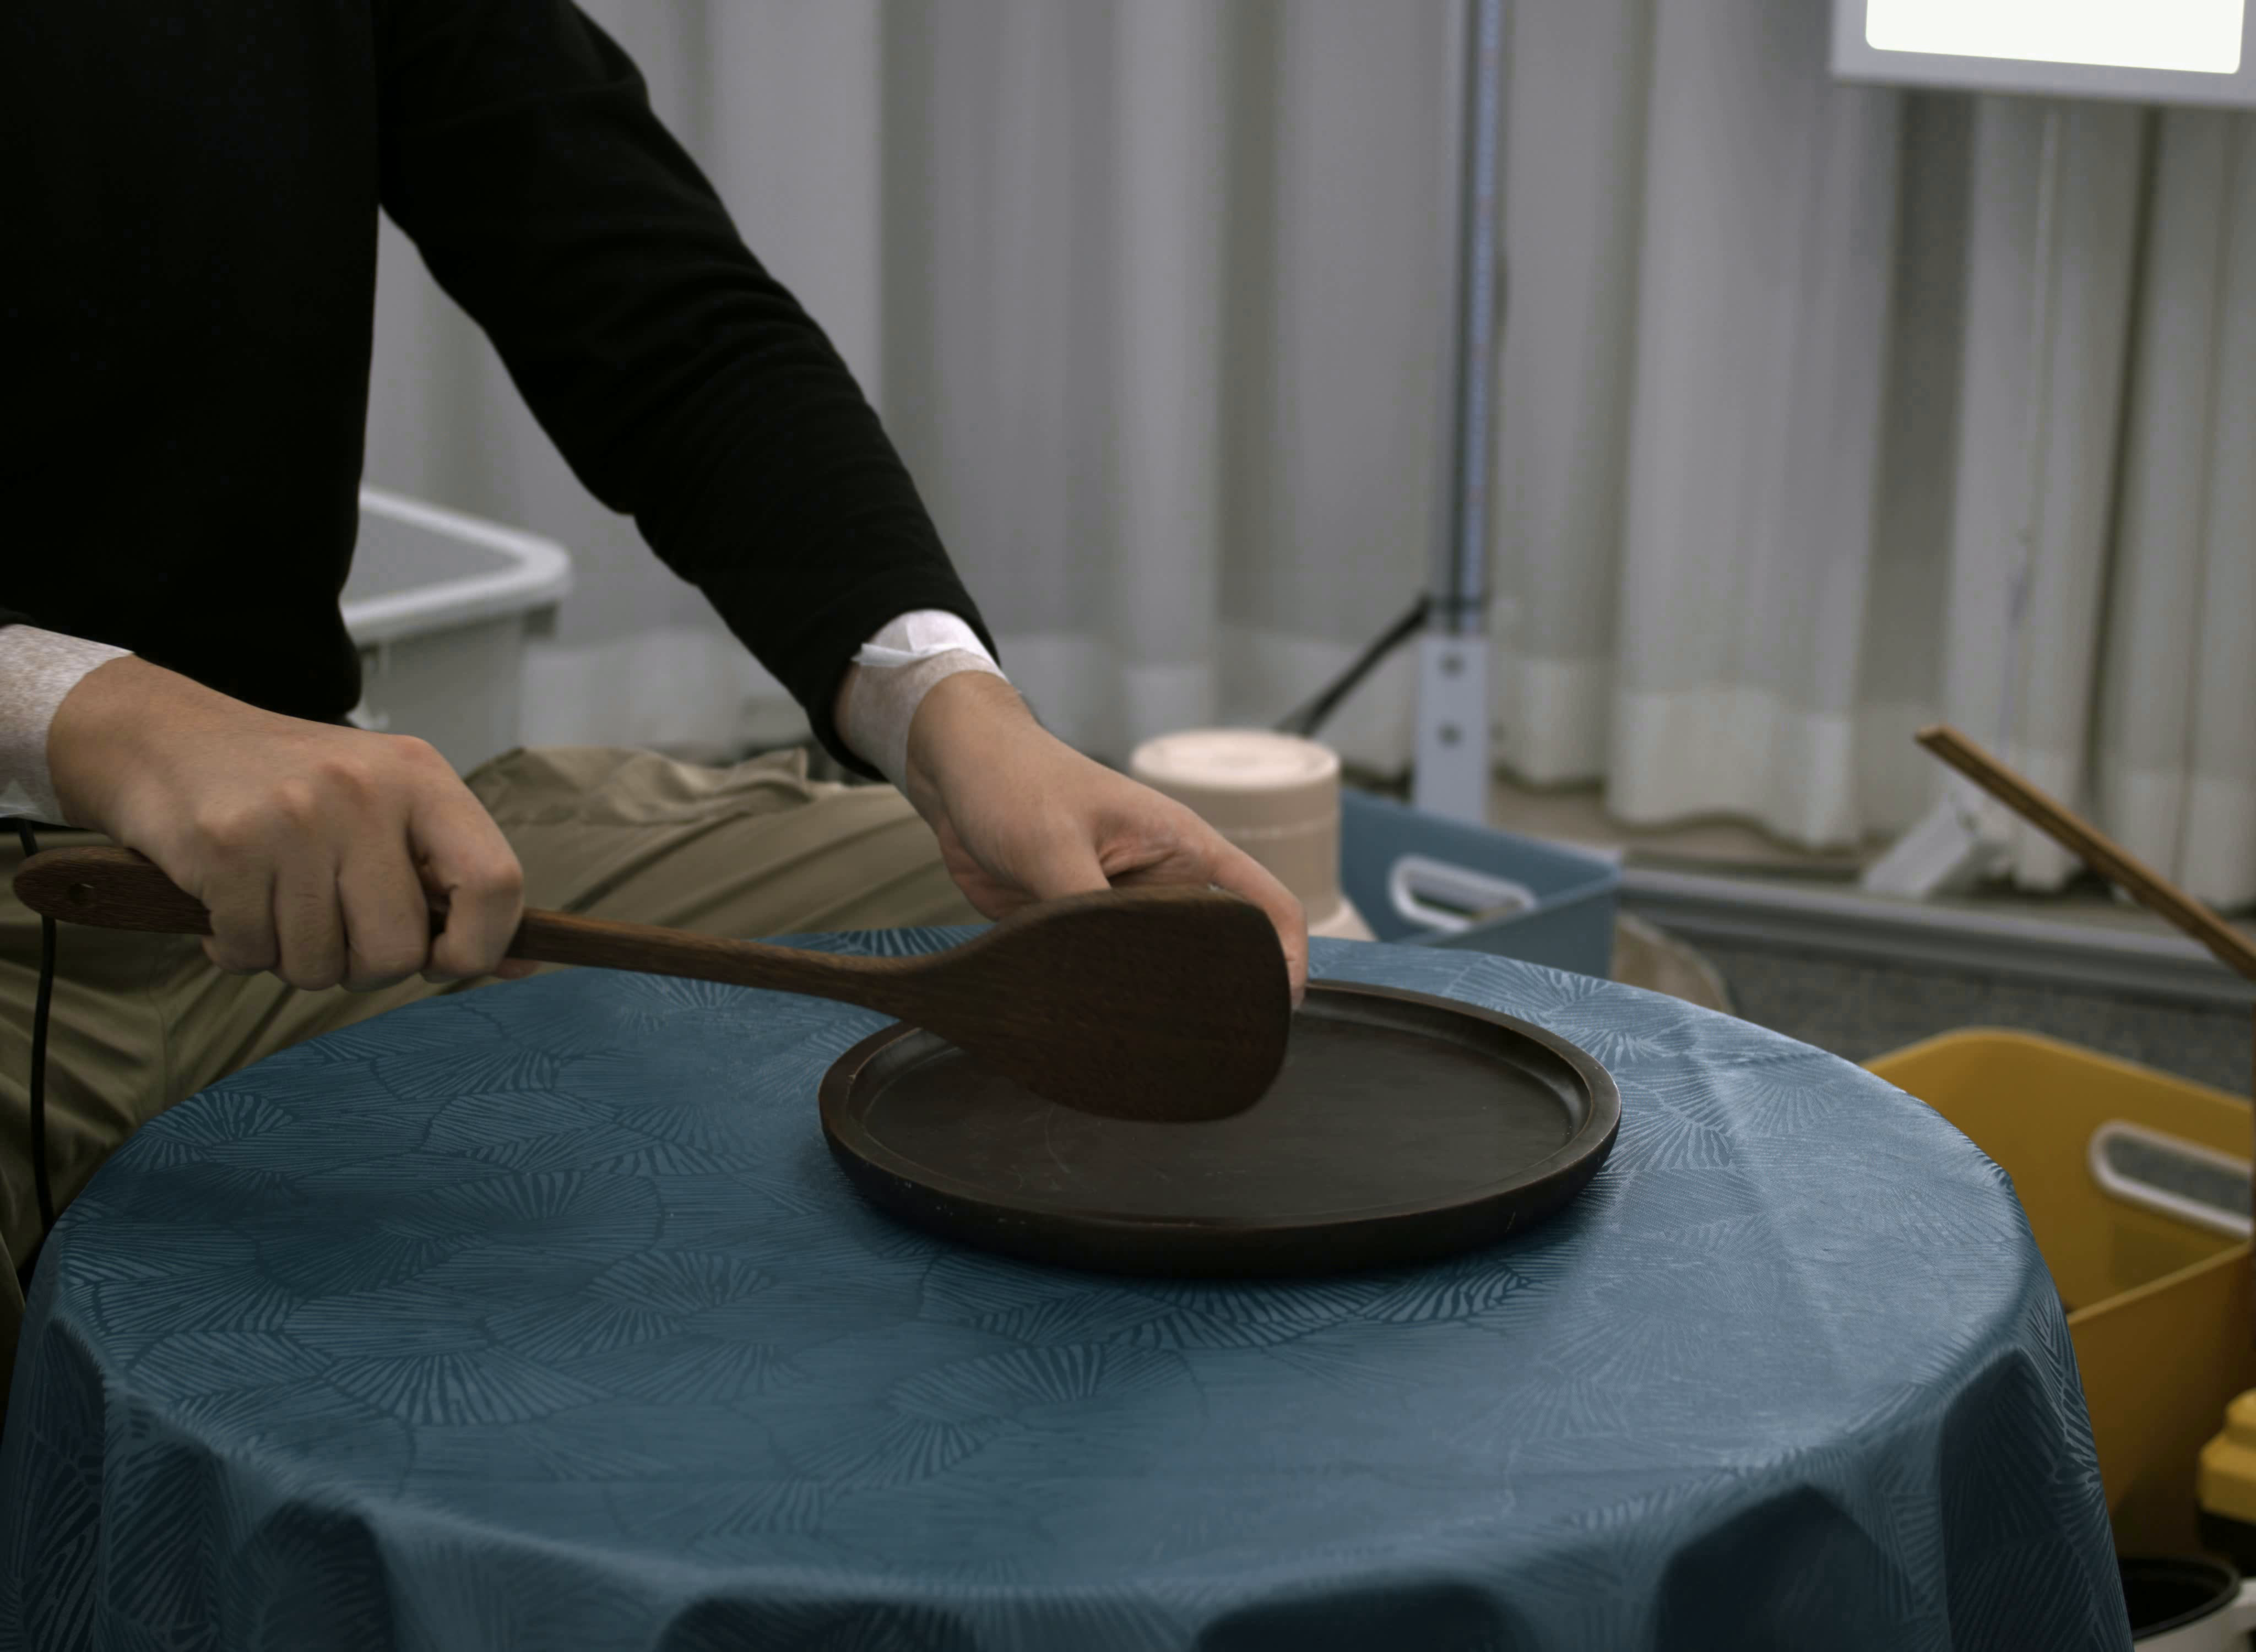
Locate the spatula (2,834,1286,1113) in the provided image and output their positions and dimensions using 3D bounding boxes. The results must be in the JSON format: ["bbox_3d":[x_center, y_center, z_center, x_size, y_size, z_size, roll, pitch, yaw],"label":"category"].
[{"bbox_3d":[-0.144,0.033,1.554,0.384,0.097,0.015,7,43,5],"label":"spatula"}]

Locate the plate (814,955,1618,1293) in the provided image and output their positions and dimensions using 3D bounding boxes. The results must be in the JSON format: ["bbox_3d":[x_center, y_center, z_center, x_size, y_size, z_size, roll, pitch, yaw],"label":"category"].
[{"bbox_3d":[0.028,0.093,1.651,0.254,0.029,0.253,0,17,0],"label":"plate"}]
